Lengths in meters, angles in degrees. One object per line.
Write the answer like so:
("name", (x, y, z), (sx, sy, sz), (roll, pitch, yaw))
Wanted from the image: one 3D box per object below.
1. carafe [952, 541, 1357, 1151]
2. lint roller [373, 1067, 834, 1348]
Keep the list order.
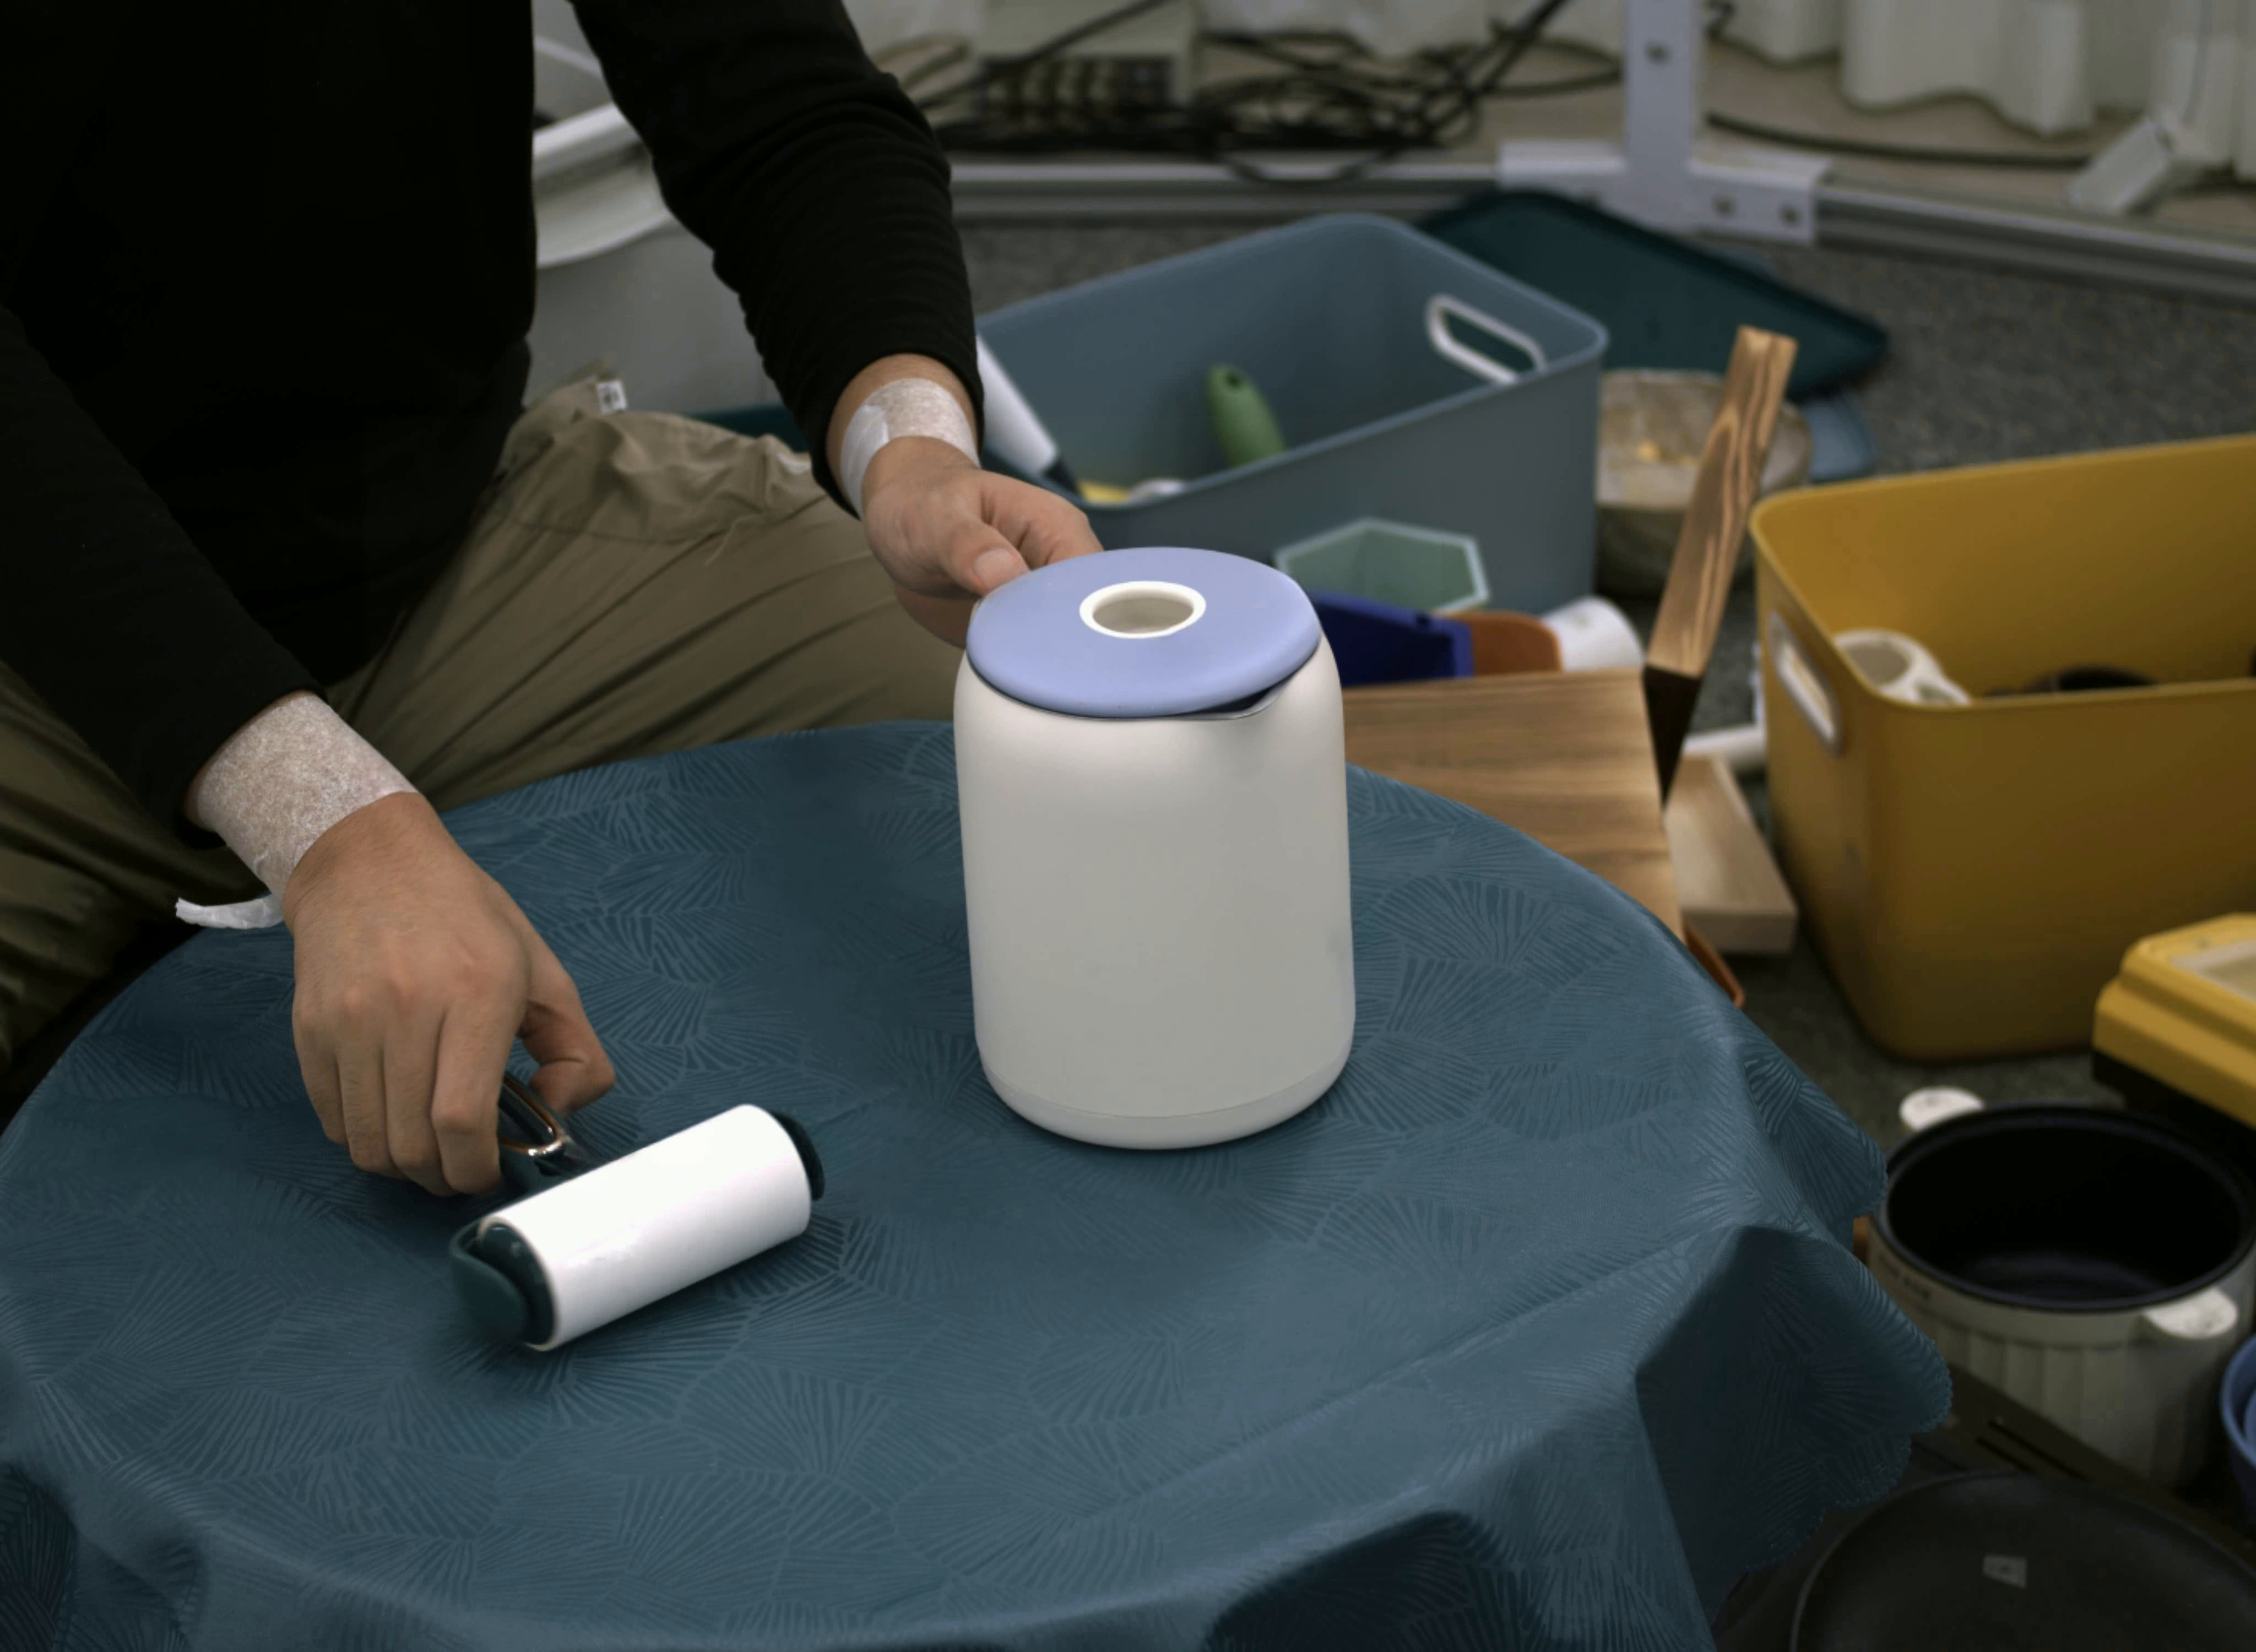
("carafe", (-0.004, -0.002, 1.917), (0.133, 0.181, 0.191), (-18, 28, -28))
("lint roller", (-0.198, 0.103, 1.856), (0.135, 0.048, 0.180), (-21, 35, -31))
